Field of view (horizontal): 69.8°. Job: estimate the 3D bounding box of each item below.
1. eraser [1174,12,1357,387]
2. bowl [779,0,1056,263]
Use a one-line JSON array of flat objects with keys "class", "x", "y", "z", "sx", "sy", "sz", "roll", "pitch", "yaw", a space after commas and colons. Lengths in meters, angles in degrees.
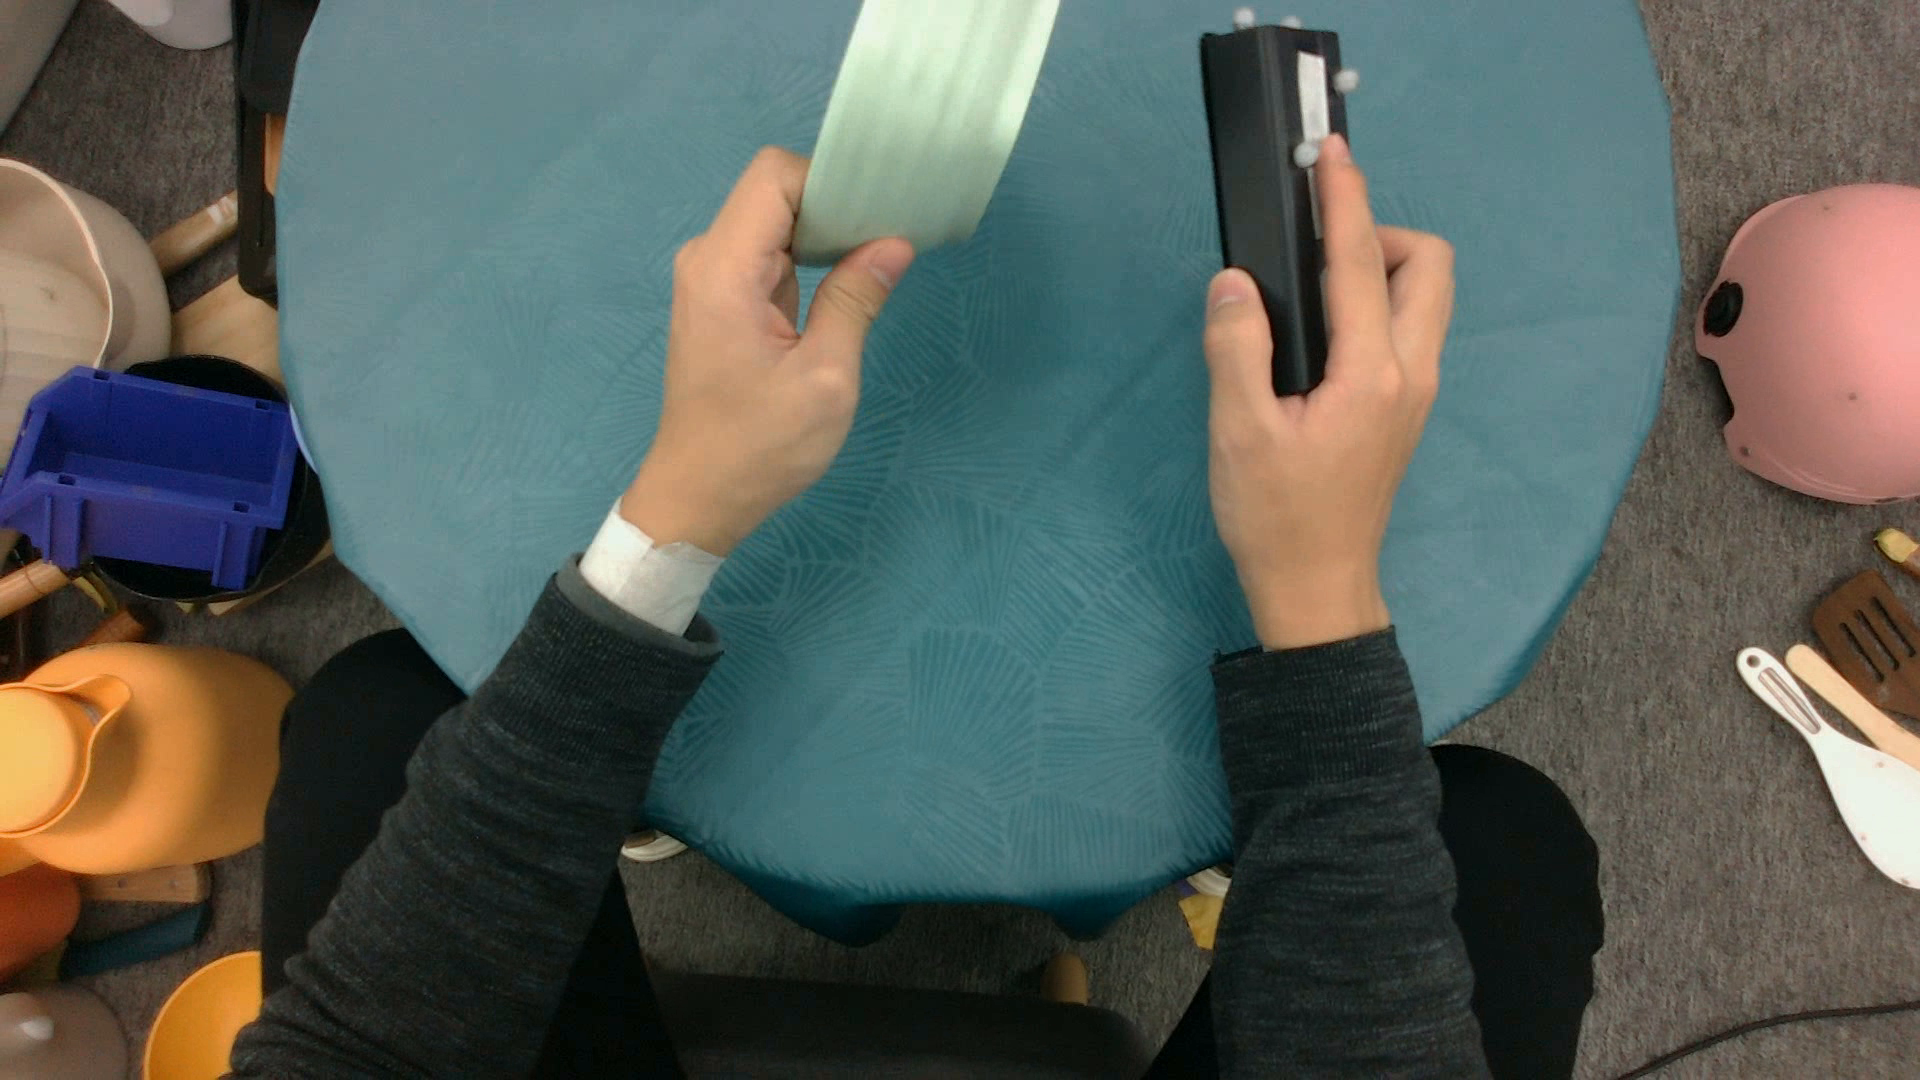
[{"class": "eraser", "x": 0.109, "y": -0.119, "z": 0.486, "sx": 0.054, "sy": 0.030, "sz": 0.125, "roll": -20, "pitch": 104, "yaw": -42}, {"class": "bowl", "x": -0.010, "y": -0.158, "z": 0.477, "sx": 0.058, "sy": 0.151, "sz": 0.151, "roll": 21, "pitch": 83, "yaw": -7}]
